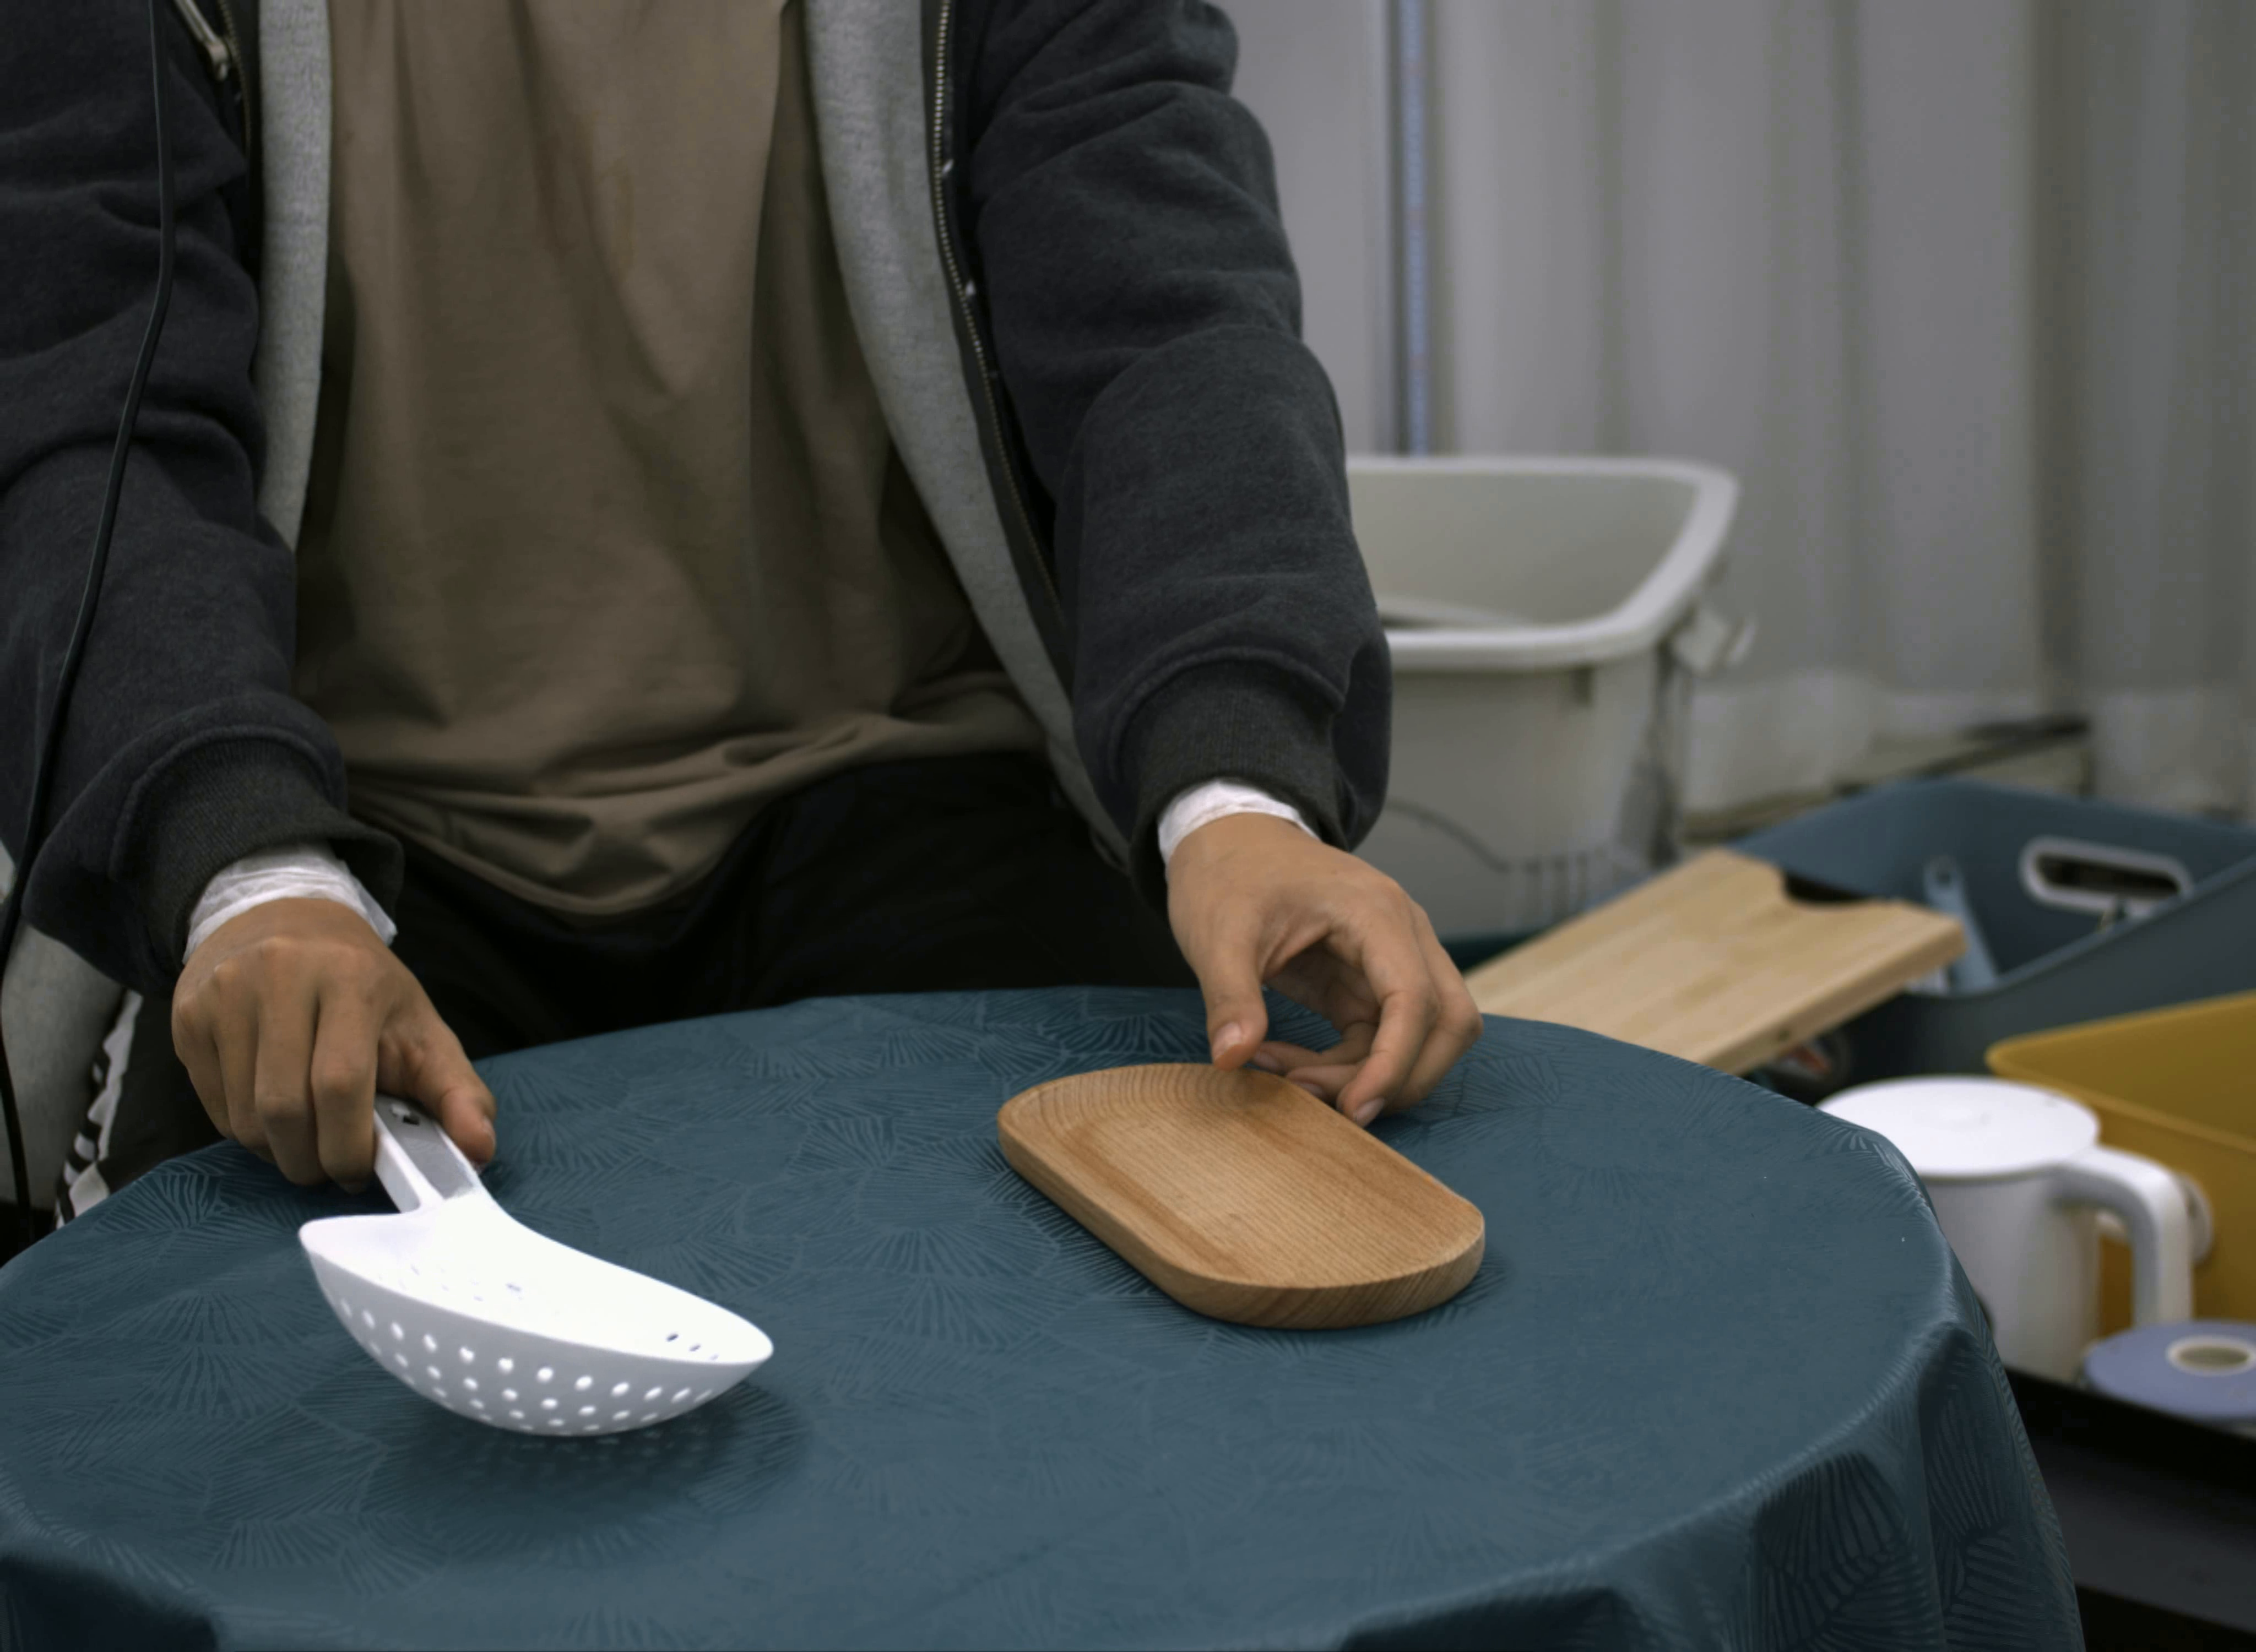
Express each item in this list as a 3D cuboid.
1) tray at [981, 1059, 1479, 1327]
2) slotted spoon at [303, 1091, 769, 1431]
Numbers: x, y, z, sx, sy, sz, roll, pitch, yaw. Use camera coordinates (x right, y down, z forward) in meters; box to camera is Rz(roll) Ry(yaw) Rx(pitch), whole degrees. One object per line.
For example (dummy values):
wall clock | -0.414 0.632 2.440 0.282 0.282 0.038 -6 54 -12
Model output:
tray | 0.029 0.112 1.690 0.101 0.020 0.233 -8 15 -21
slotted spoon | -0.198 0.120 1.632 0.135 0.046 0.352 16 8 -18
